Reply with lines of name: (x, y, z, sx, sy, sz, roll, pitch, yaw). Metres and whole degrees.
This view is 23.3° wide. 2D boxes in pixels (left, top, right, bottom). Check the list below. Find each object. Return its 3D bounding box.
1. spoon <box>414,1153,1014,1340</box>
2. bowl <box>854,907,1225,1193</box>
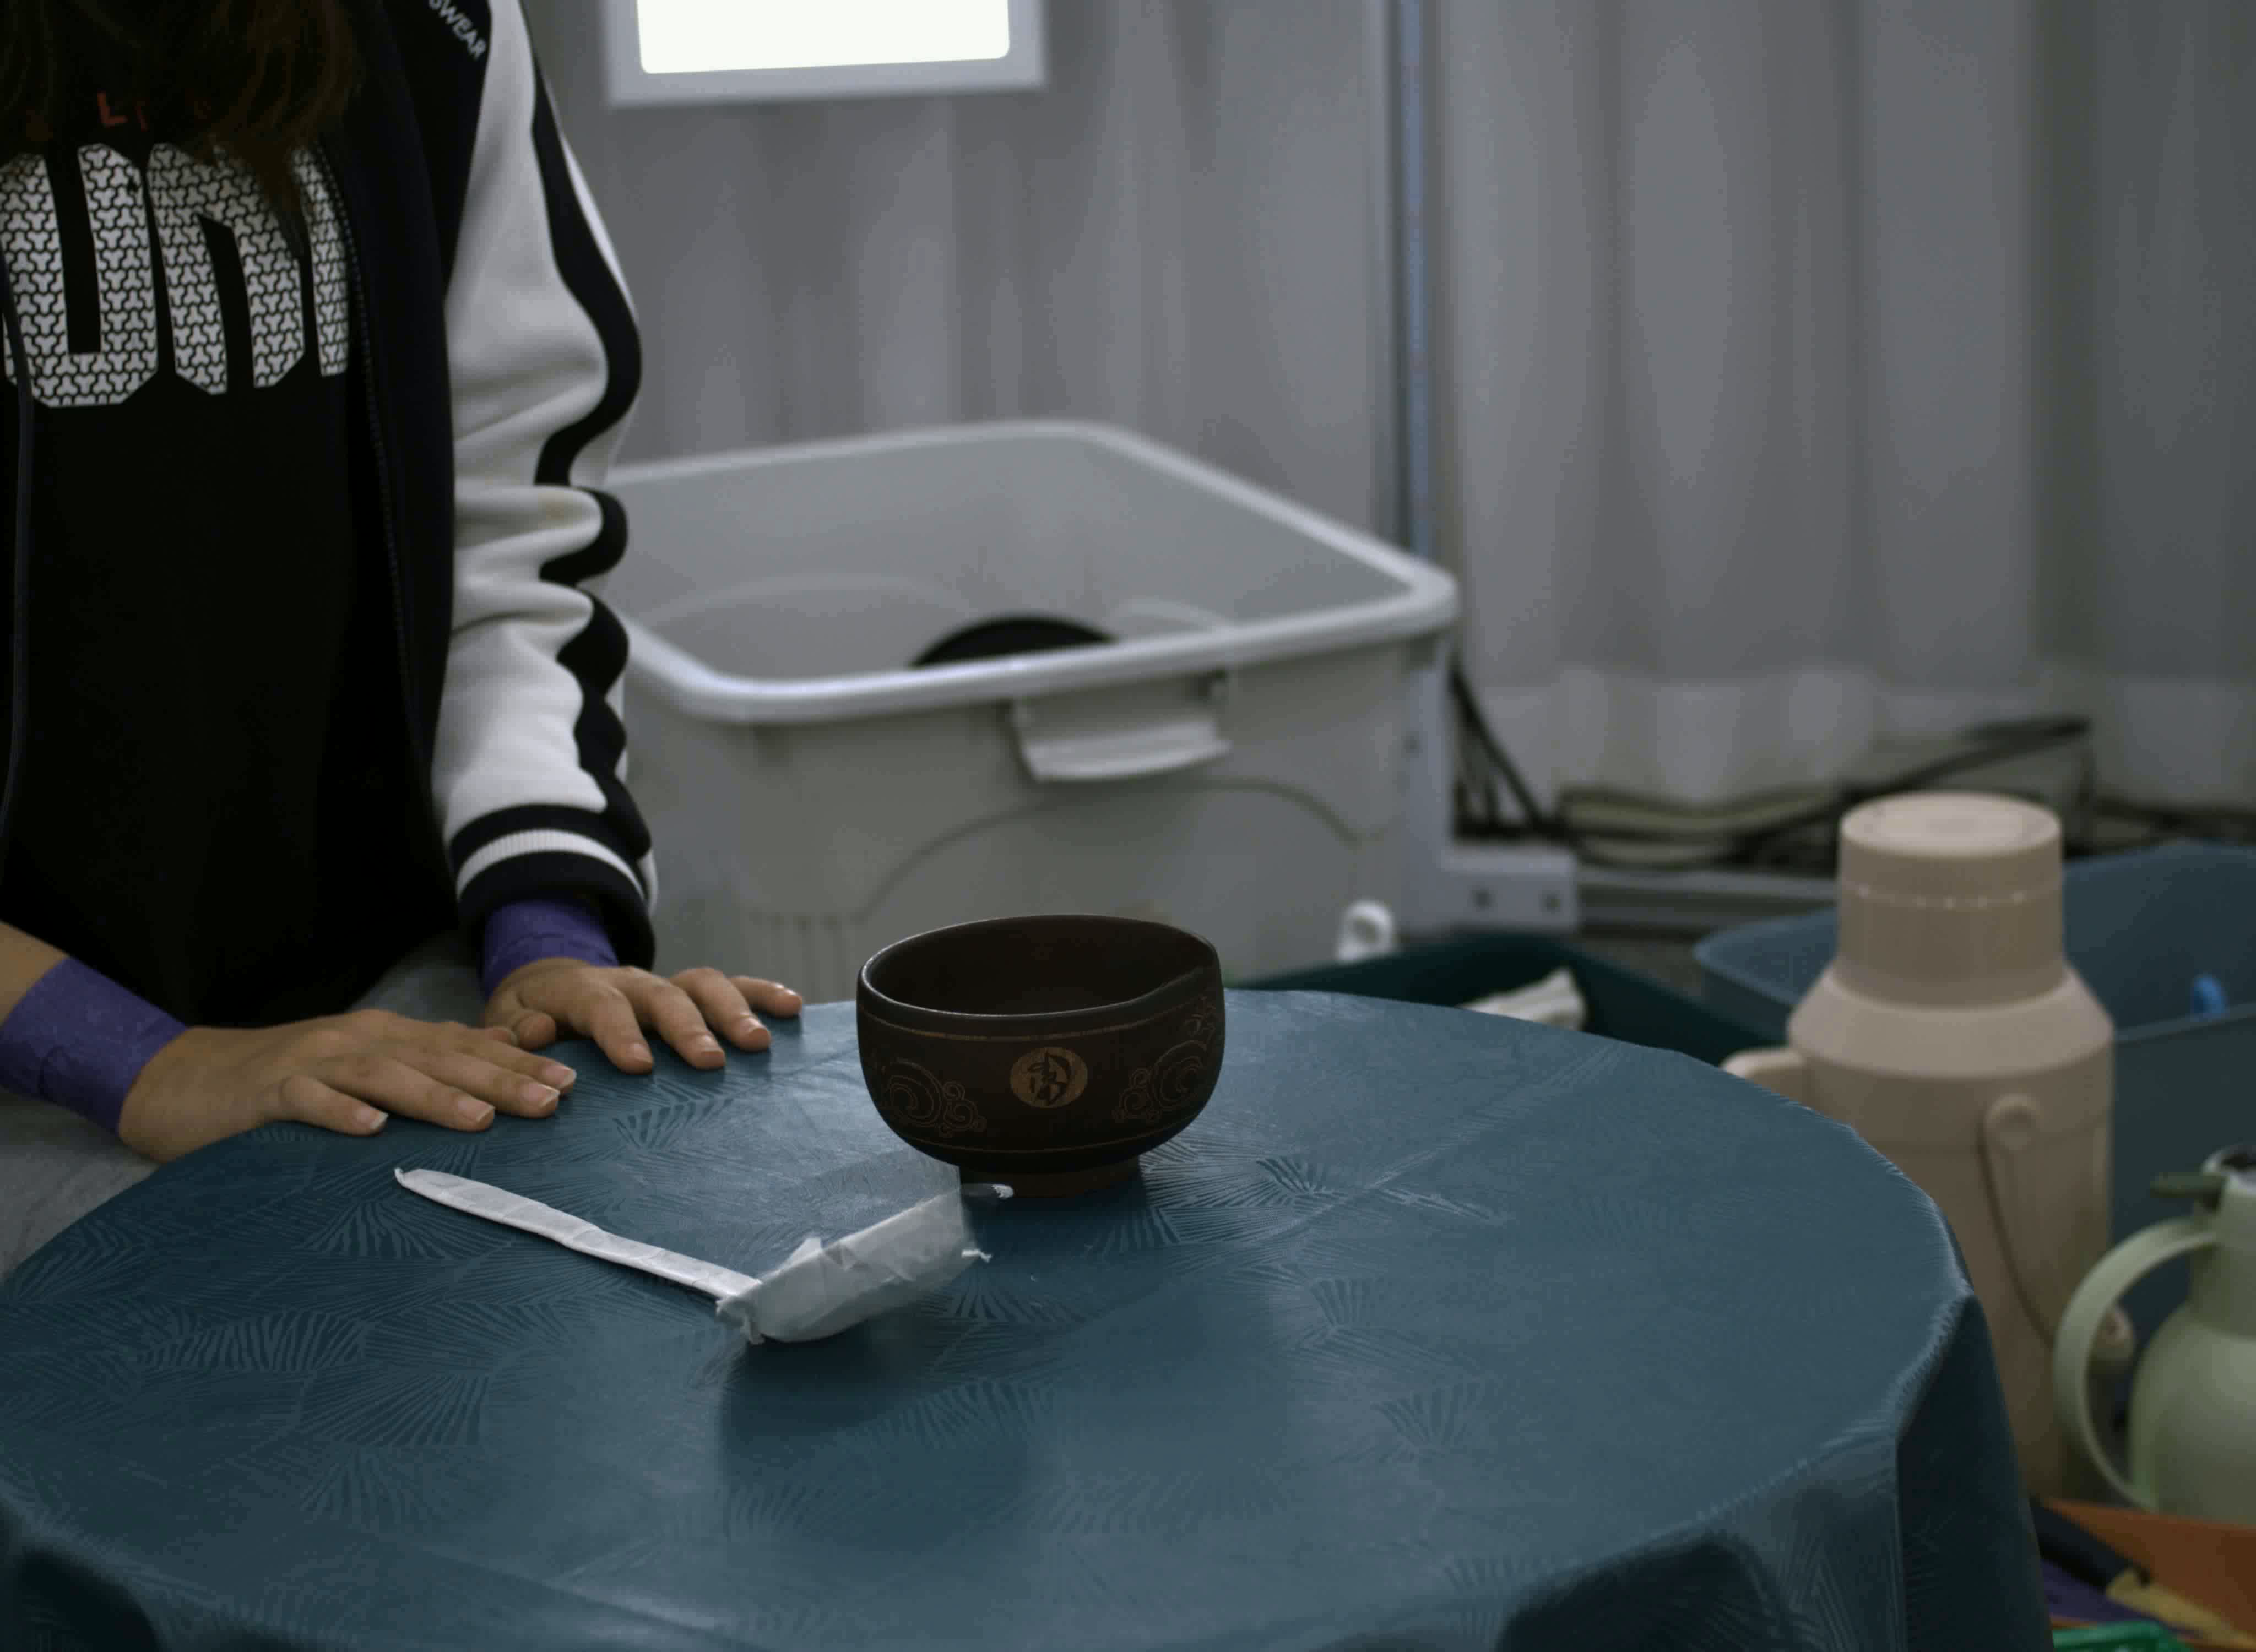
spoon: (-0.136, 0.107, 1.660, 0.100, 0.059, 0.279, -10, 16, -38)
bowl: (-0.027, 0.074, 1.730, 0.117, 0.069, 0.119, -2, 14, 0)
